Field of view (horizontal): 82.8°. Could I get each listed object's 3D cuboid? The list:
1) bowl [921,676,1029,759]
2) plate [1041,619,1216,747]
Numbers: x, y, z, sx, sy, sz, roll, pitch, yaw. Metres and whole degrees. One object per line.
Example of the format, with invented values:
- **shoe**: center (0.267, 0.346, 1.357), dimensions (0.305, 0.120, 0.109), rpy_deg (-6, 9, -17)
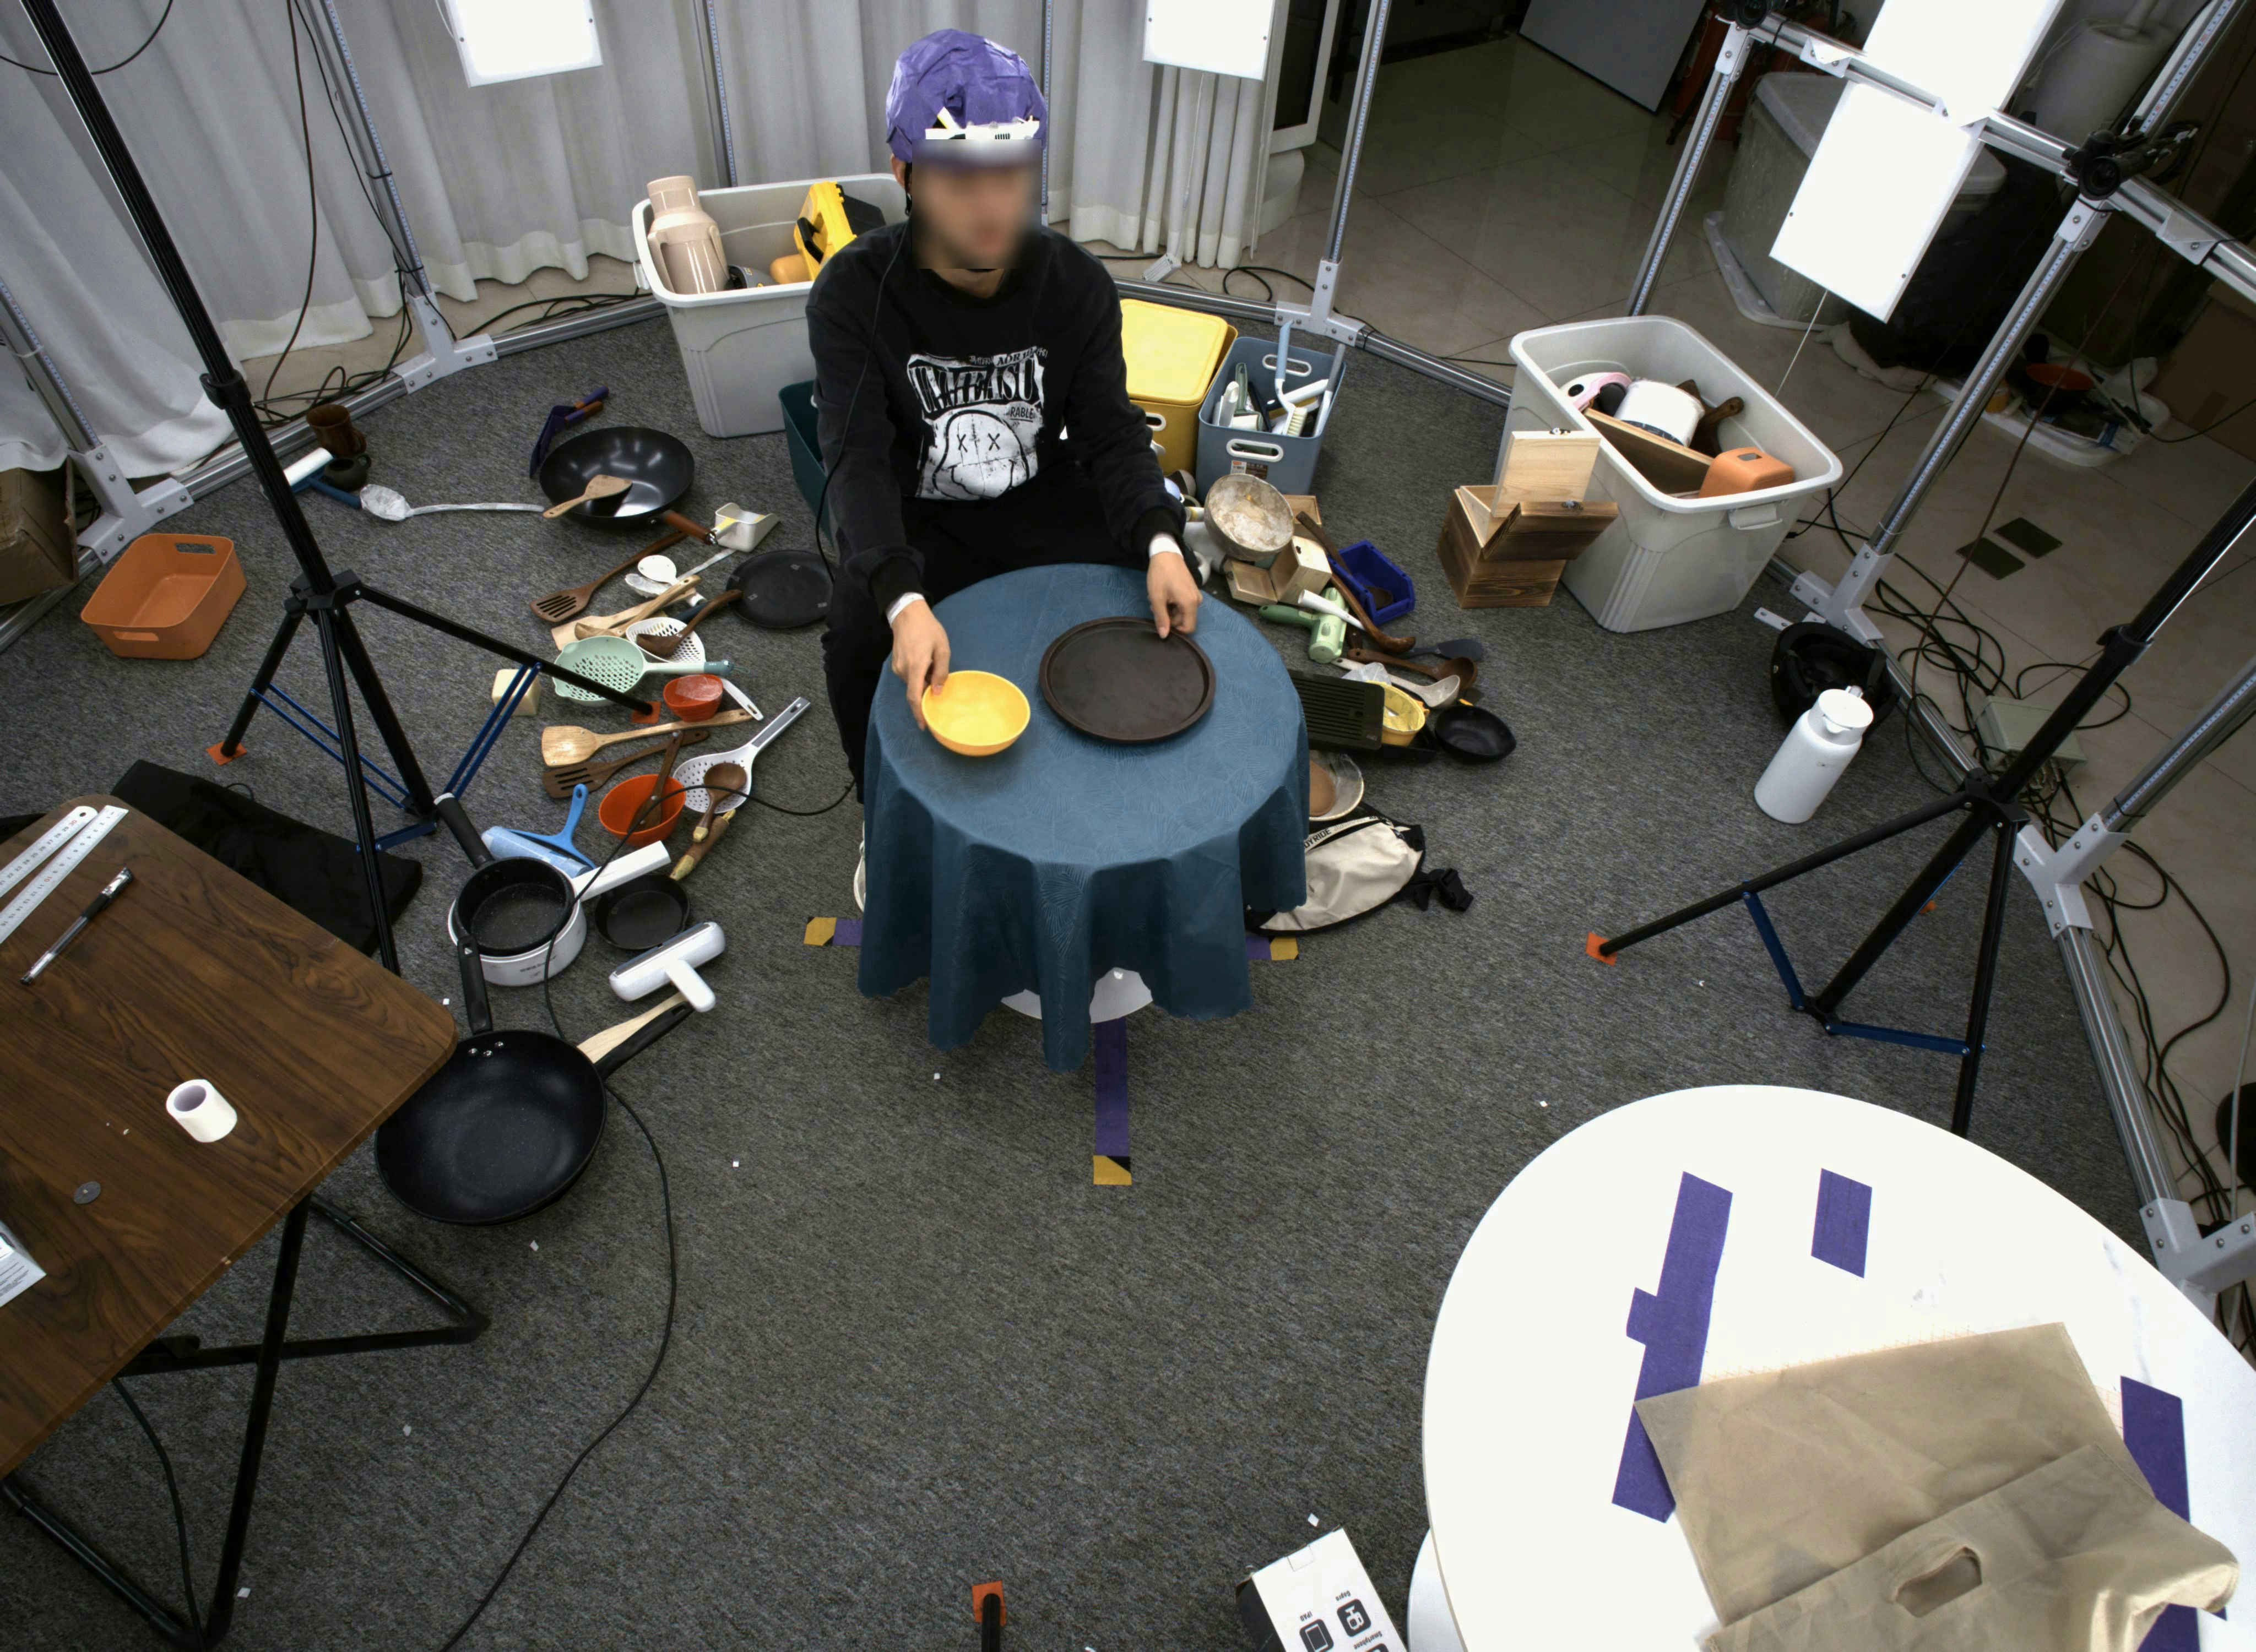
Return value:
- **bowl**: center (-0.209, -0.136, 1.749), dimensions (0.145, 0.059, 0.149), rpy_deg (6, 45, -6)
- **plate**: center (0.001, -0.208, 1.851), dimensions (0.254, 0.028, 0.261), rpy_deg (1, 49, -1)
